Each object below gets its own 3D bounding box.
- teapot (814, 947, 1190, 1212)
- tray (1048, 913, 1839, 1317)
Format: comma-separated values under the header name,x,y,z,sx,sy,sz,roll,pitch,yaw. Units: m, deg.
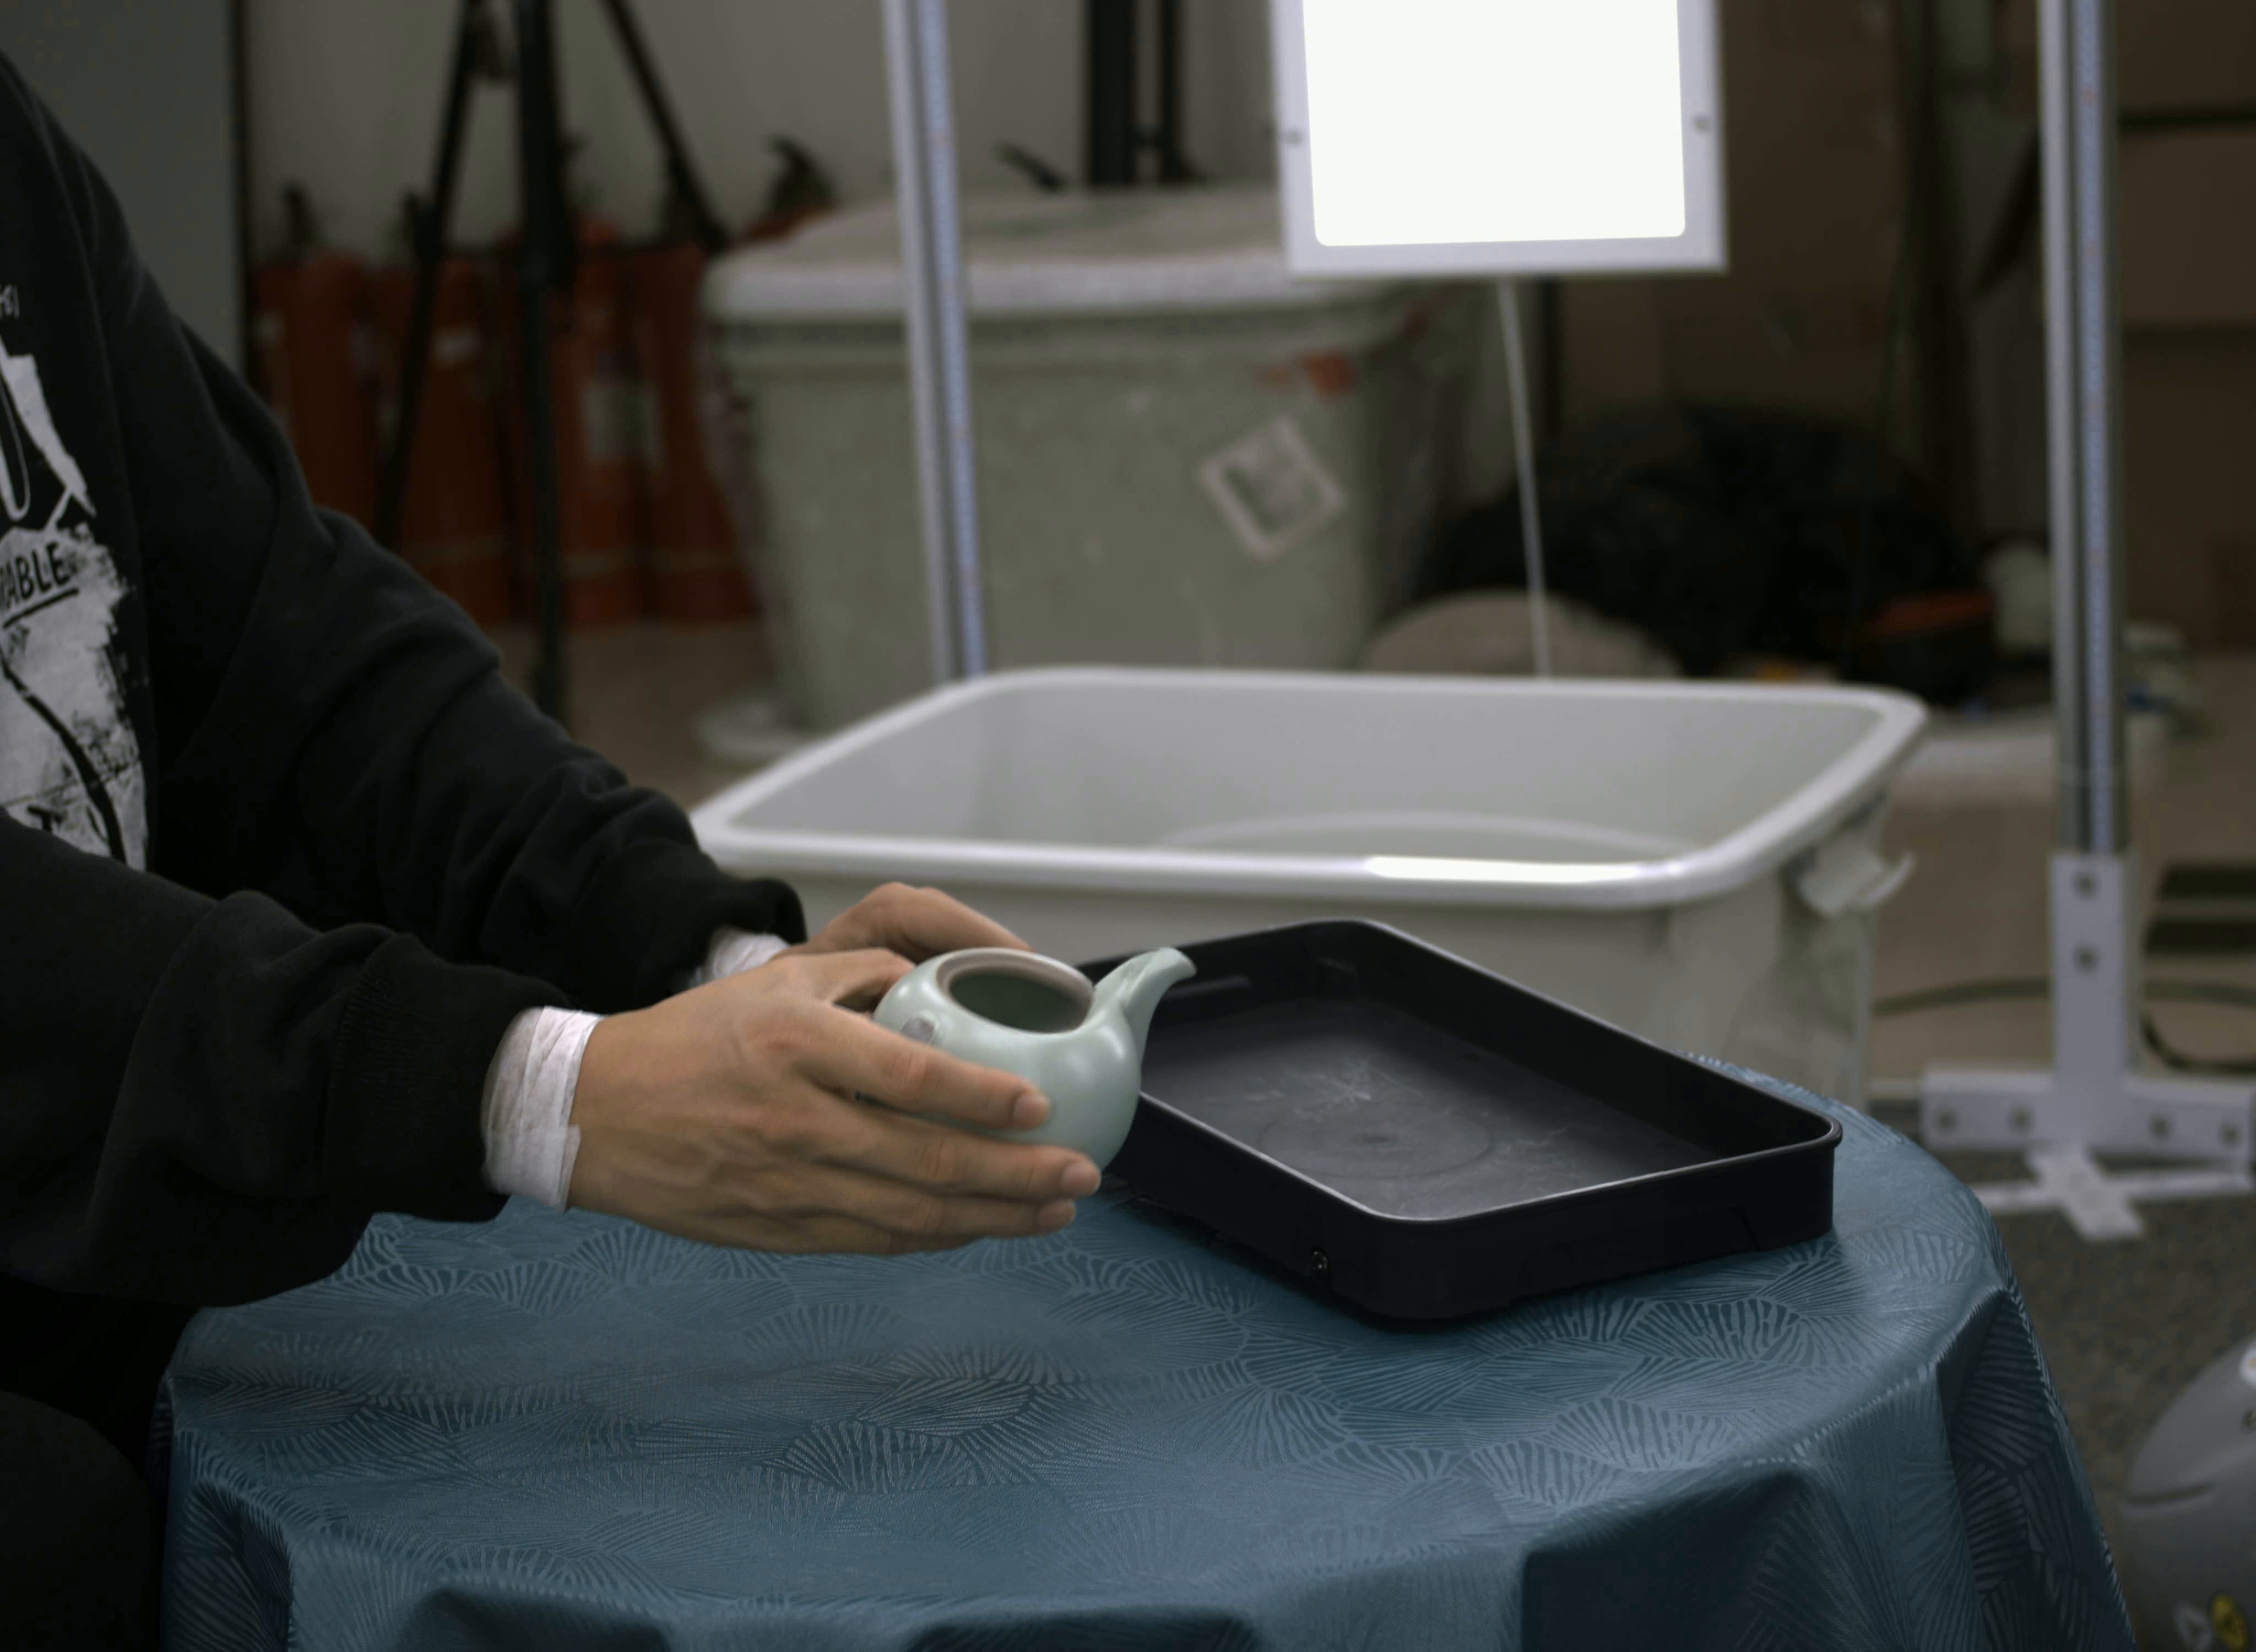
name,x,y,z,sx,sy,sz,roll,pitch,yaw
teapot,-0.041,0.078,1.711,0.140,0.075,0.090,-6,30,-39
tray,0.083,0.094,1.890,0.180,0.037,0.324,-11,18,-29
